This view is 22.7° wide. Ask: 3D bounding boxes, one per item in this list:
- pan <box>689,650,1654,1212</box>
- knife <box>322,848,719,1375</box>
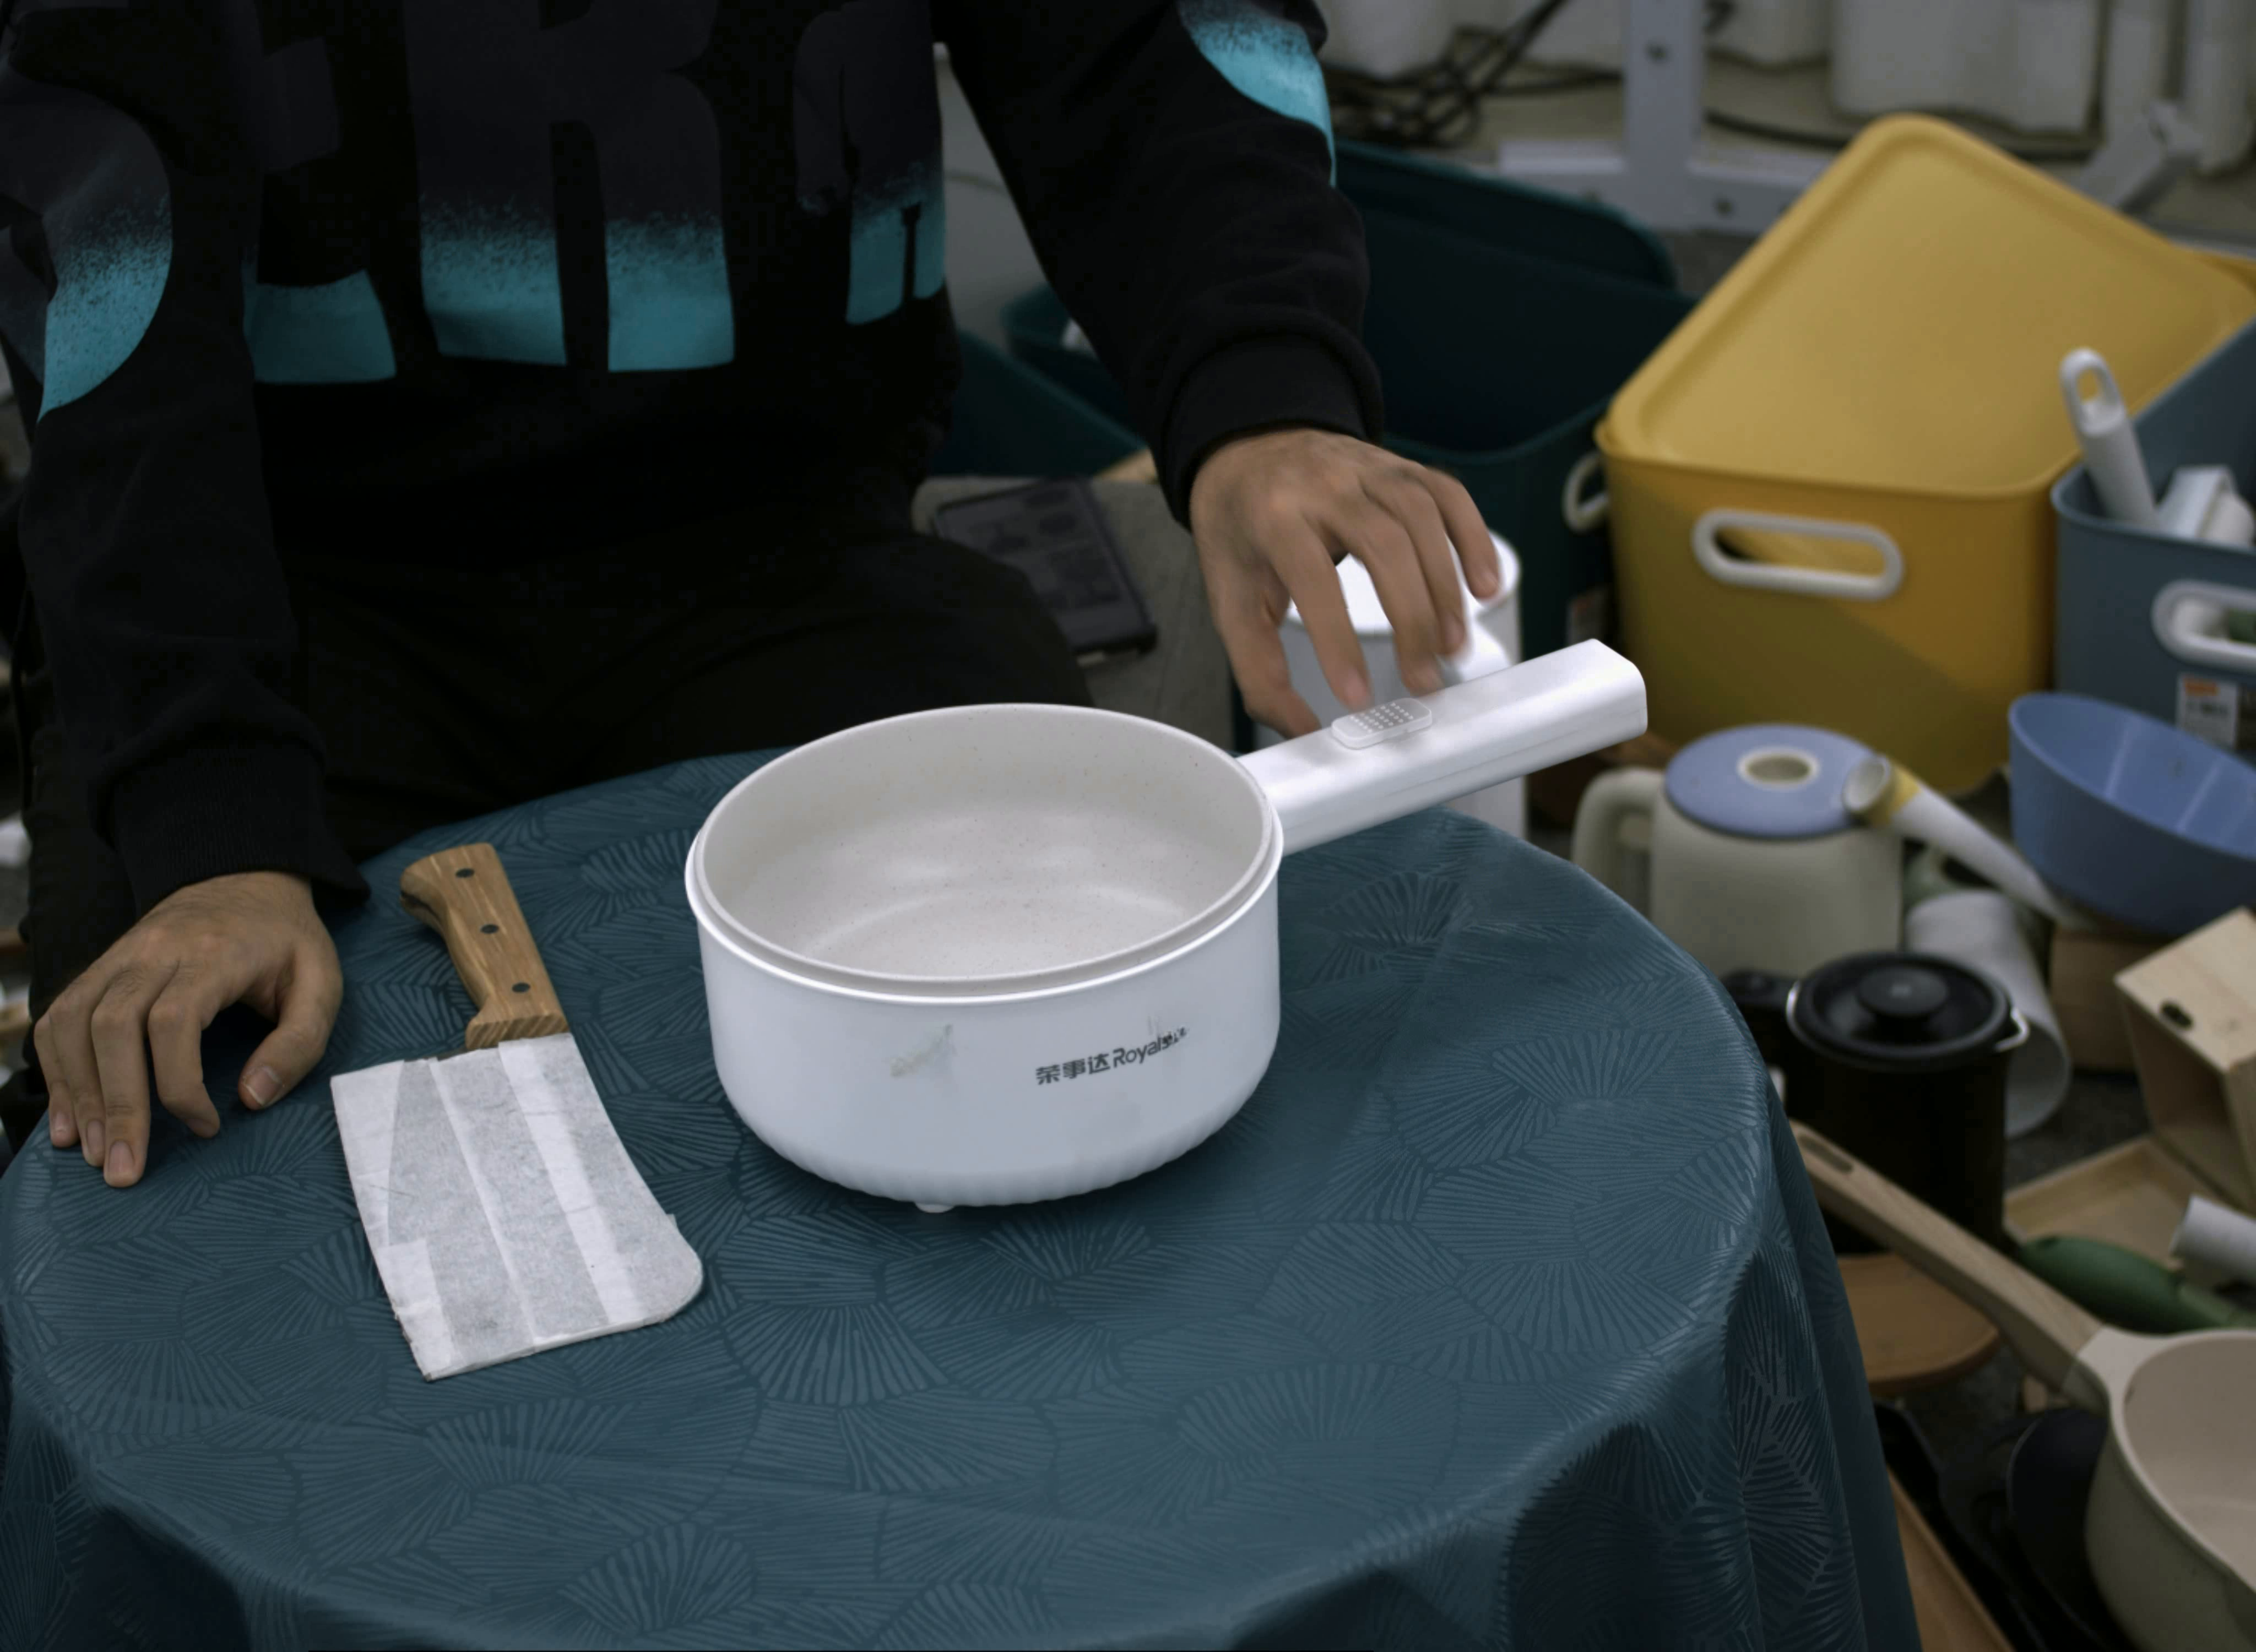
[{"bbox_3d":[0.022,0.028,1.934,0.357,0.101,0.202,-16,29,-25],"label":"pan"},{"bbox_3d":[-0.217,0.093,1.920,0.114,0.021,0.319,-9,31,-11],"label":"knife"}]
